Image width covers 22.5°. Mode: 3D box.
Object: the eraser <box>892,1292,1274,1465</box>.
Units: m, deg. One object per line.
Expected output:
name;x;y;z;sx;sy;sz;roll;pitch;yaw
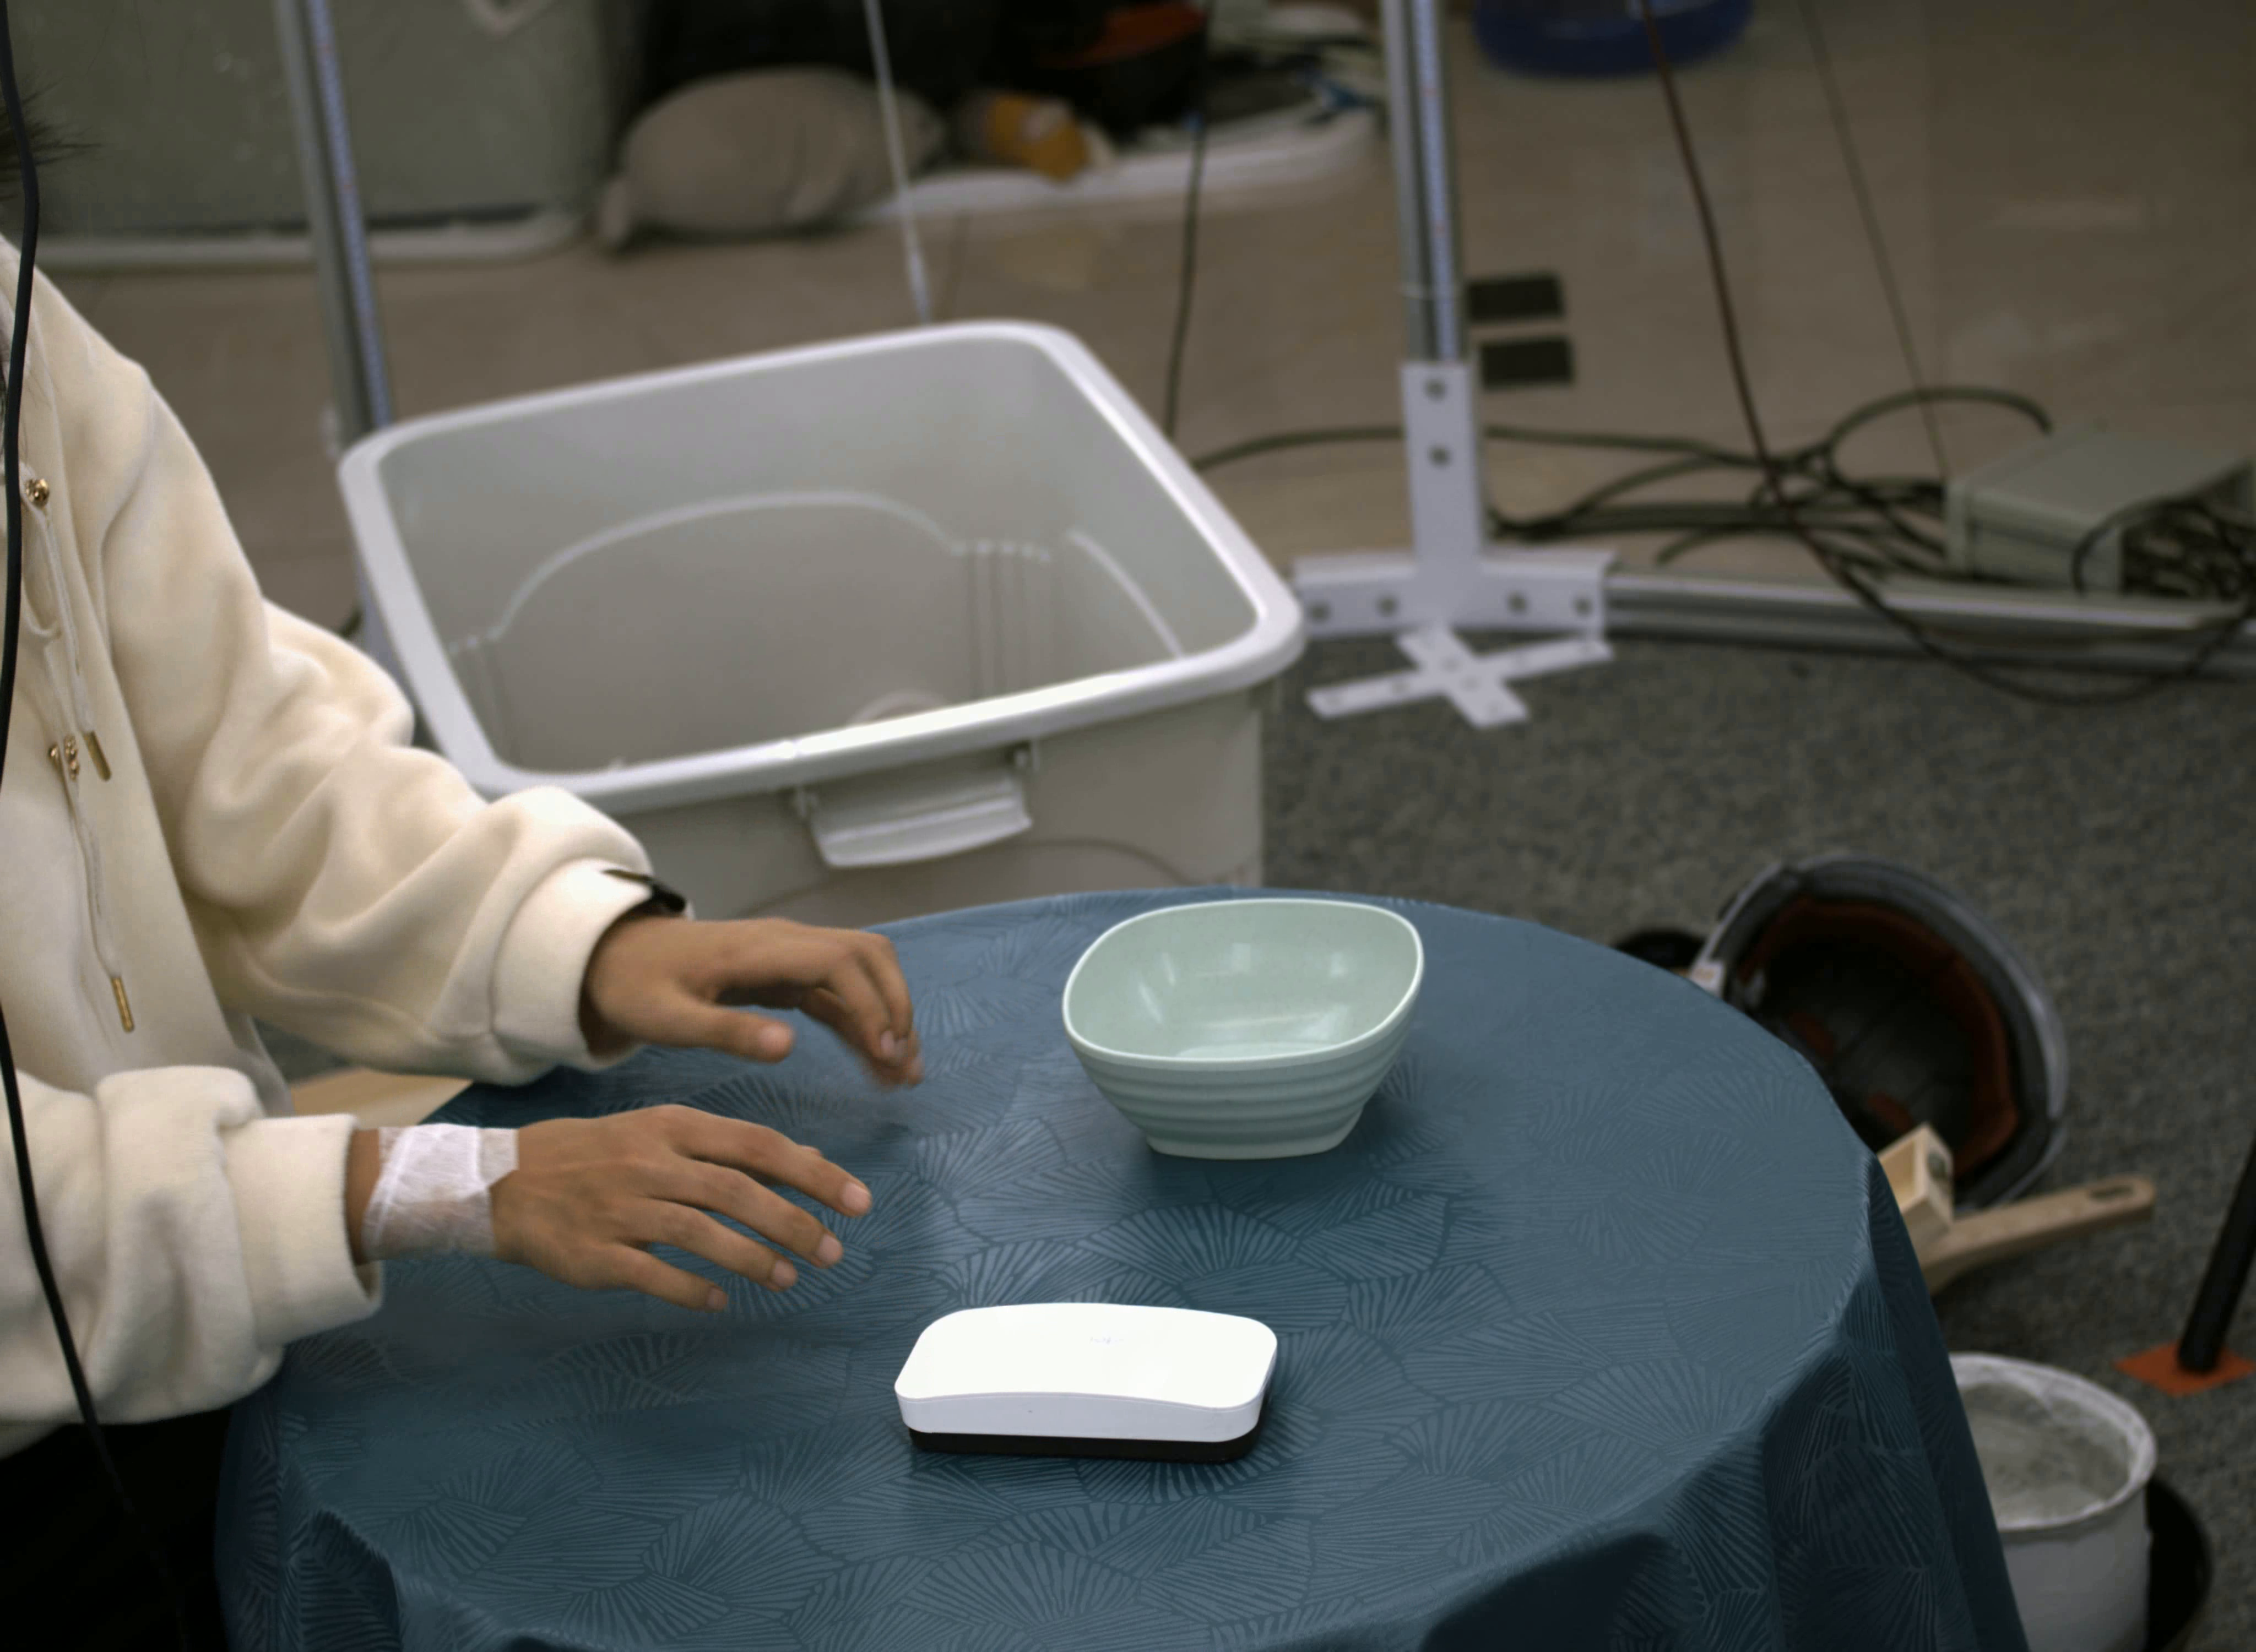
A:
eraser;-0.015;0.195;1.996;0.131;0.035;0.062;1;26;15

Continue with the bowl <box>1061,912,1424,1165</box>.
bowl;0.047;0.087;2.184;0.151;0.059;0.149;-6;23;2
